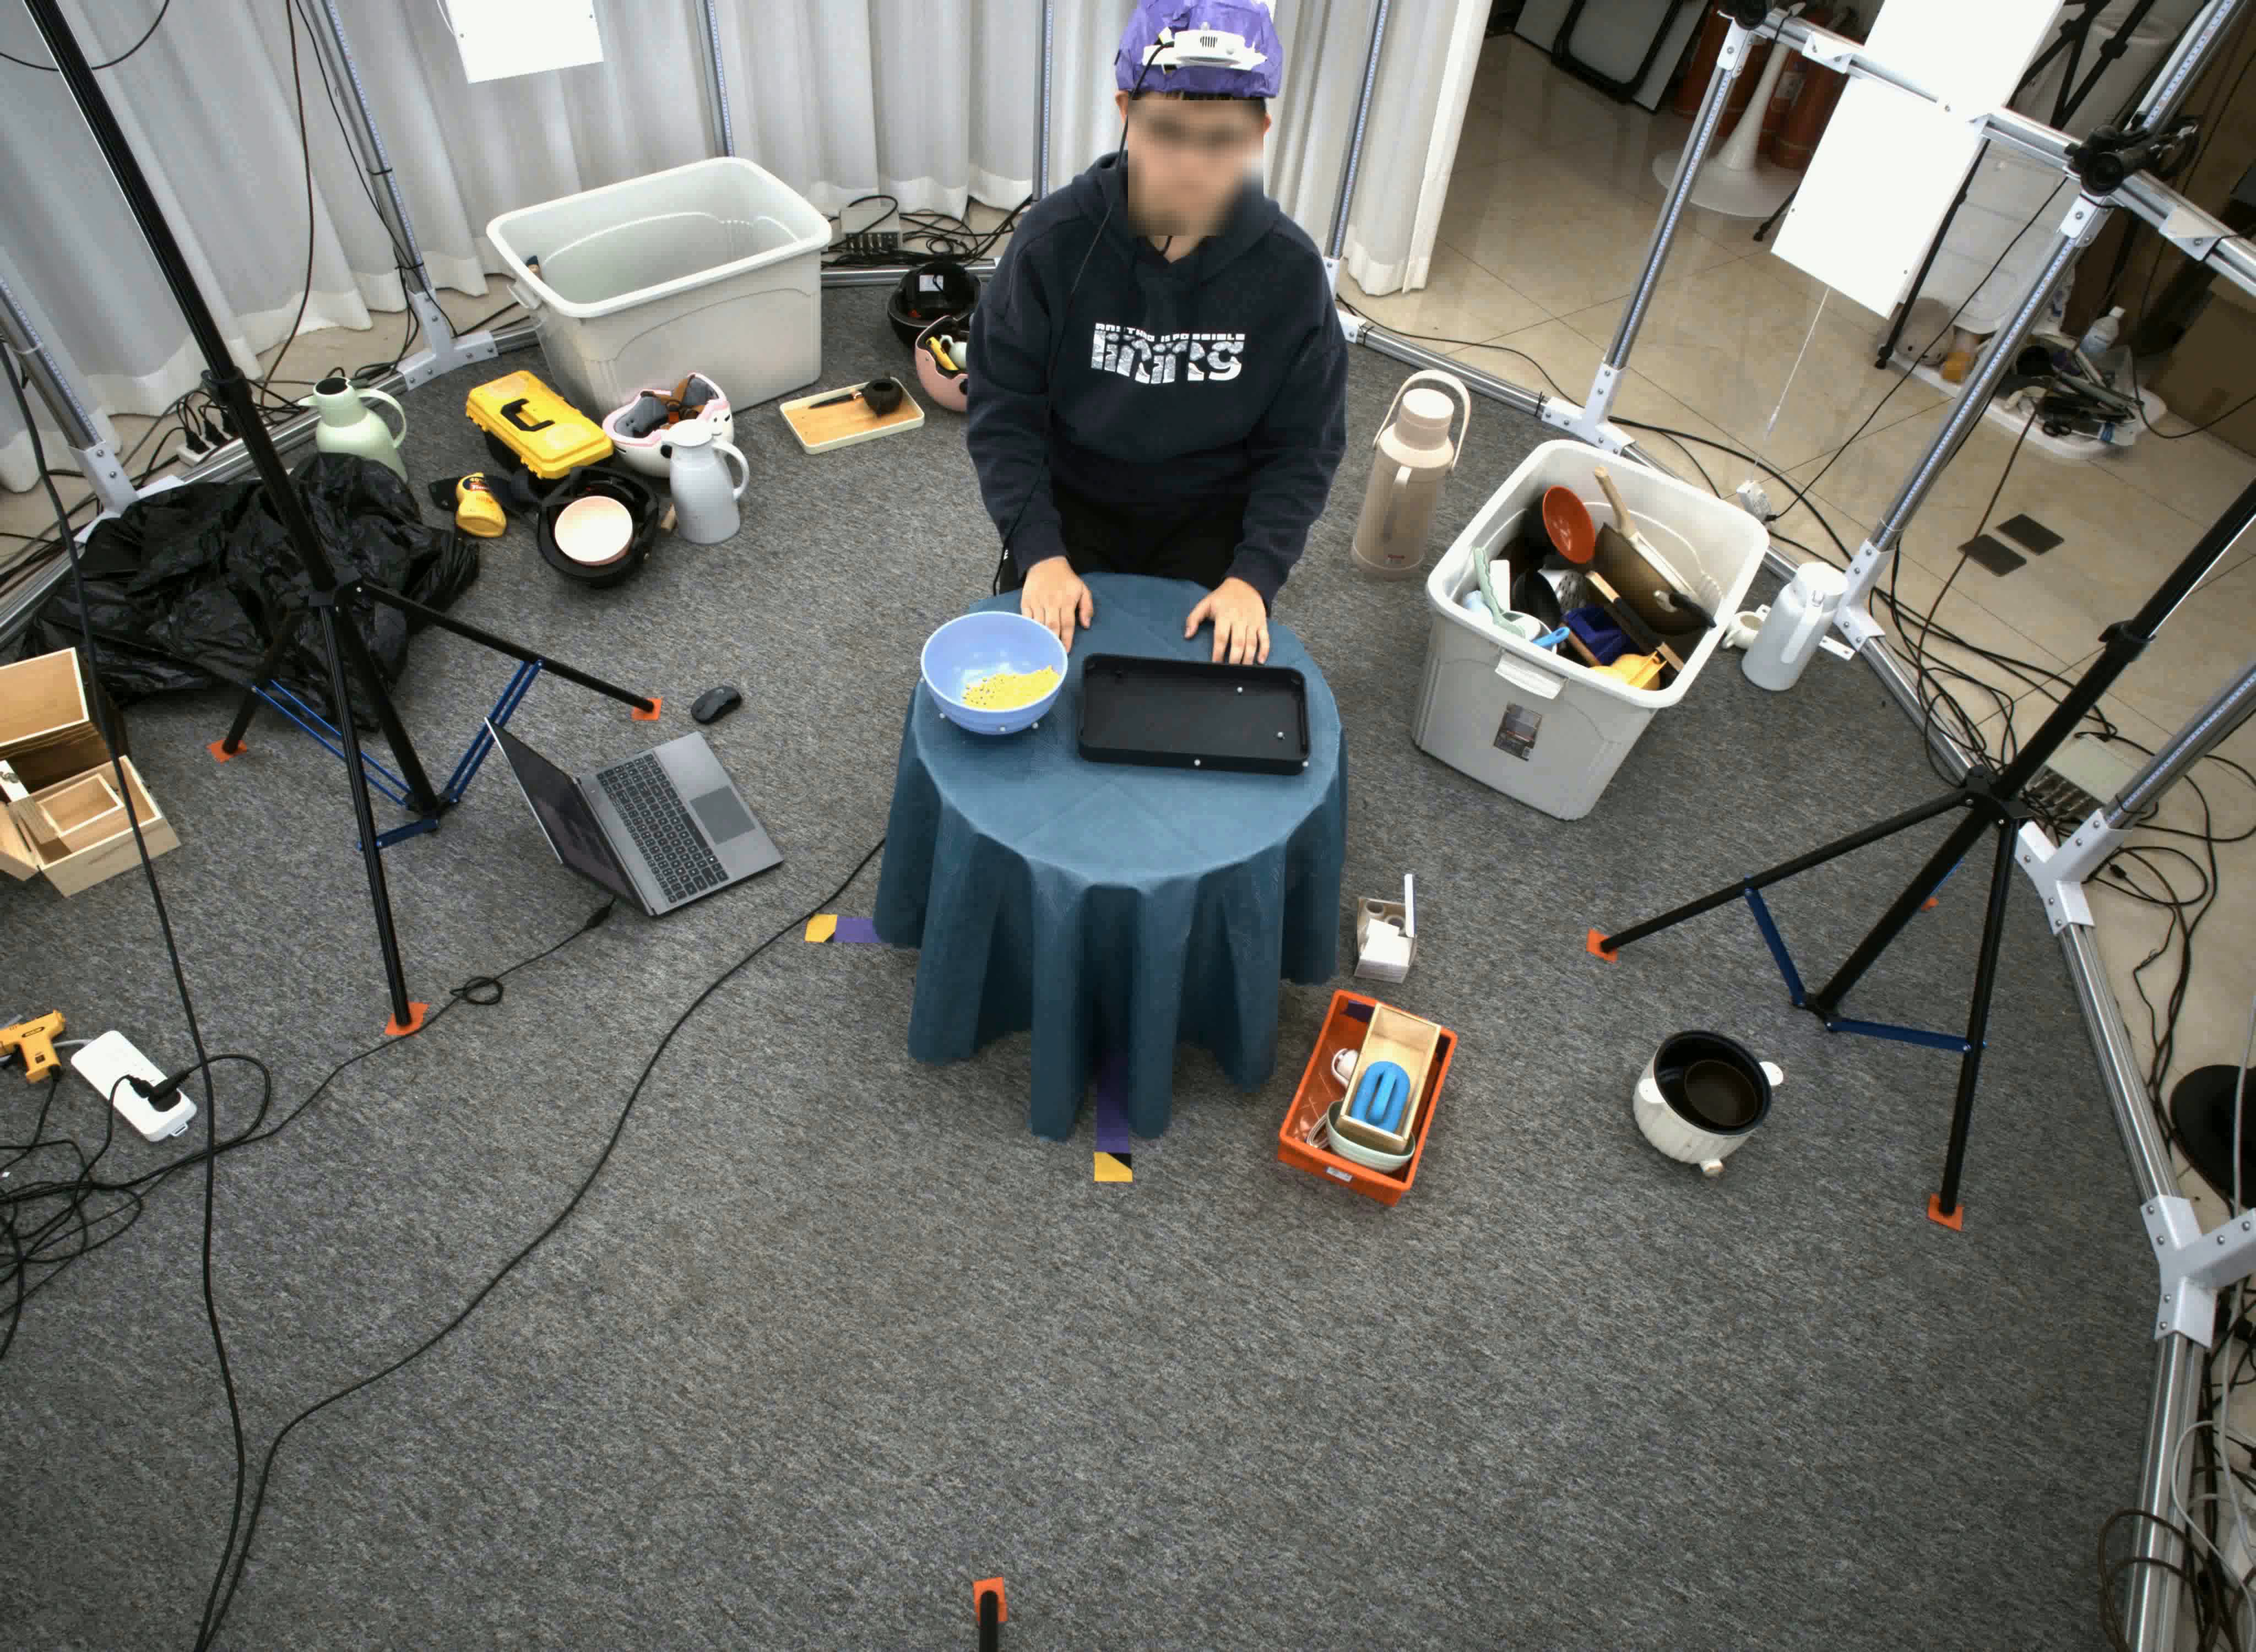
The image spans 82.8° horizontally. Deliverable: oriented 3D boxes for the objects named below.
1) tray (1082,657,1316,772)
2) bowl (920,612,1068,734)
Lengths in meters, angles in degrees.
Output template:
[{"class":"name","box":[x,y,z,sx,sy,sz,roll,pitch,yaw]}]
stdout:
[{"class":"tray","box":[0.096,-0.156,1.787,0.318,0.036,0.189,2,48,-1]},{"class":"bowl","box":[-0.181,-0.194,1.759,0.196,0.093,0.201,2,49,-2]}]
